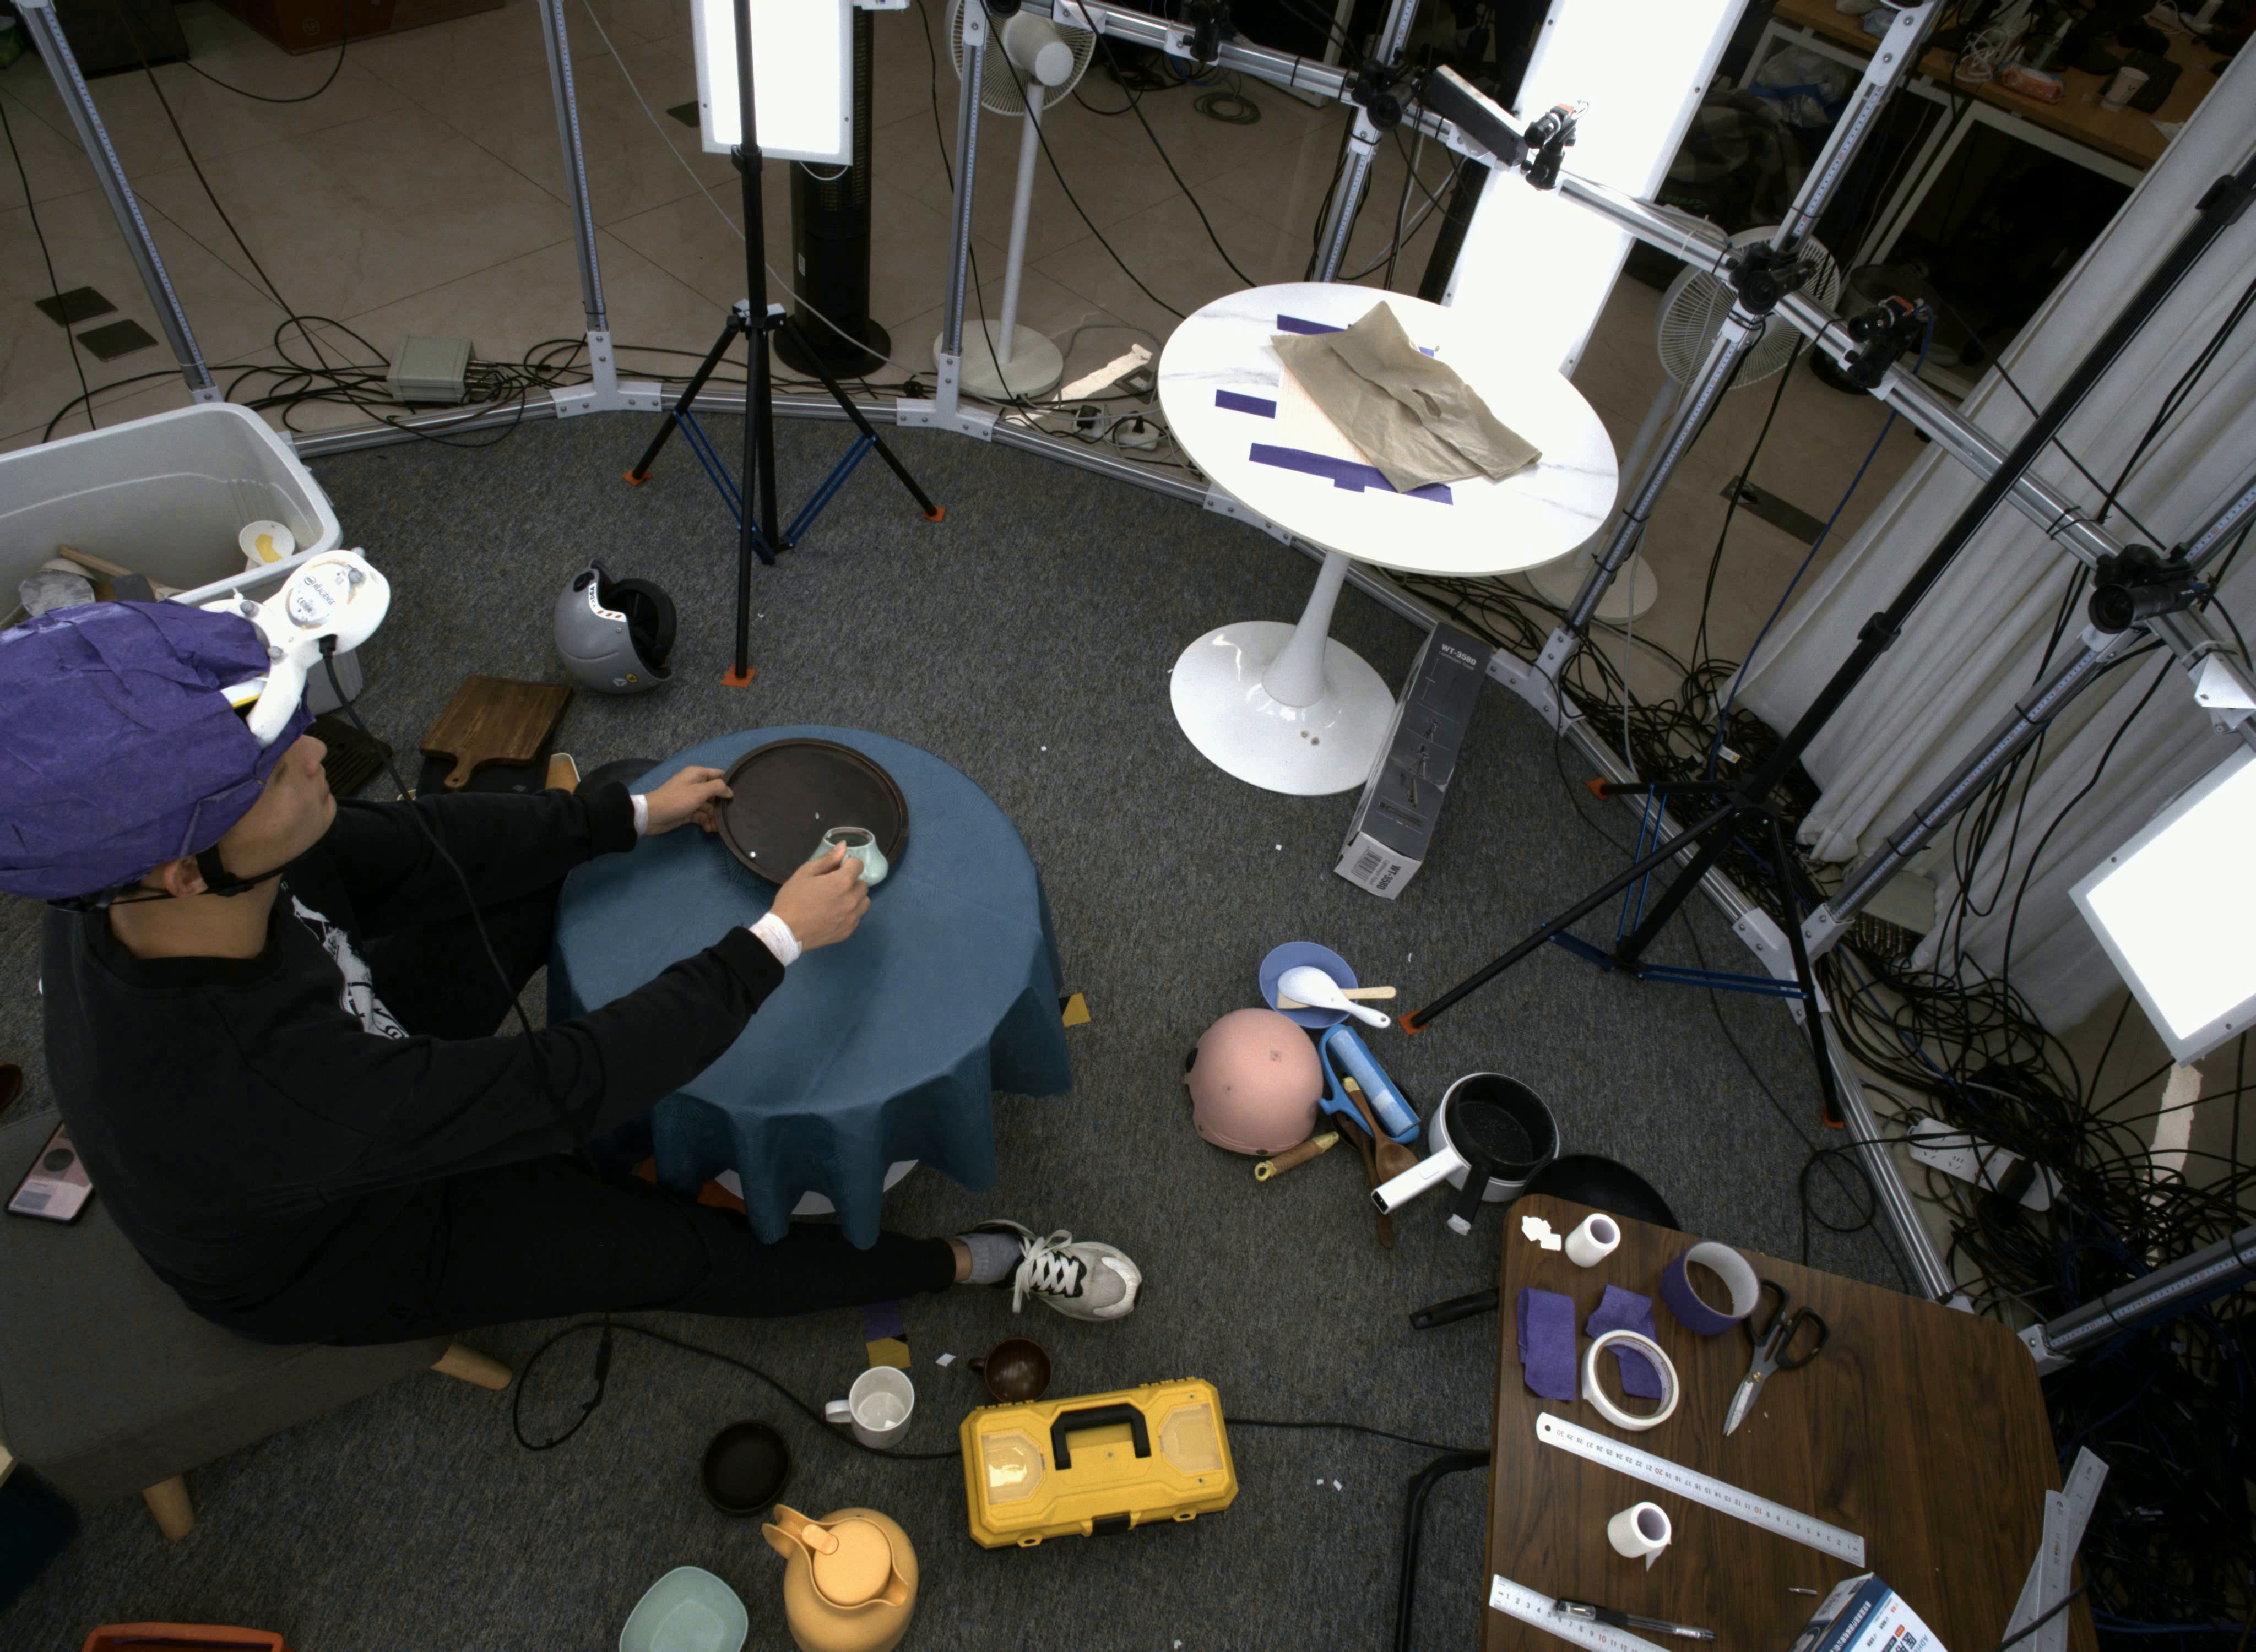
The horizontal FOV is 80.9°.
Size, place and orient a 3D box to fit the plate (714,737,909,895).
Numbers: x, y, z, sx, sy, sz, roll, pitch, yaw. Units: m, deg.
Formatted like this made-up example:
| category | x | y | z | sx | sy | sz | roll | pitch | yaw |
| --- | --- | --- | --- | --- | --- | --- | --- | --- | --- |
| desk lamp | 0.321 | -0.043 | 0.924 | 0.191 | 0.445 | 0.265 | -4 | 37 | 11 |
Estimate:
| category | x | y | z | sx | sy | sz | roll | pitch | yaw |
| --- | --- | --- | --- | --- | --- | --- | --- | --- | --- |
| plate | -0.414 | -0.016 | 1.700 | 0.256 | 0.029 | 0.250 | 14 | 50 | -16 |

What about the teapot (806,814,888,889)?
| category | x | y | z | sx | sy | sz | roll | pitch | yaw |
| --- | --- | --- | --- | --- | --- | --- | --- | --- | --- |
| teapot | -0.335 | 0.036 | 1.550 | 0.096 | 0.063 | 0.133 | 3 | 23 | -12 |
